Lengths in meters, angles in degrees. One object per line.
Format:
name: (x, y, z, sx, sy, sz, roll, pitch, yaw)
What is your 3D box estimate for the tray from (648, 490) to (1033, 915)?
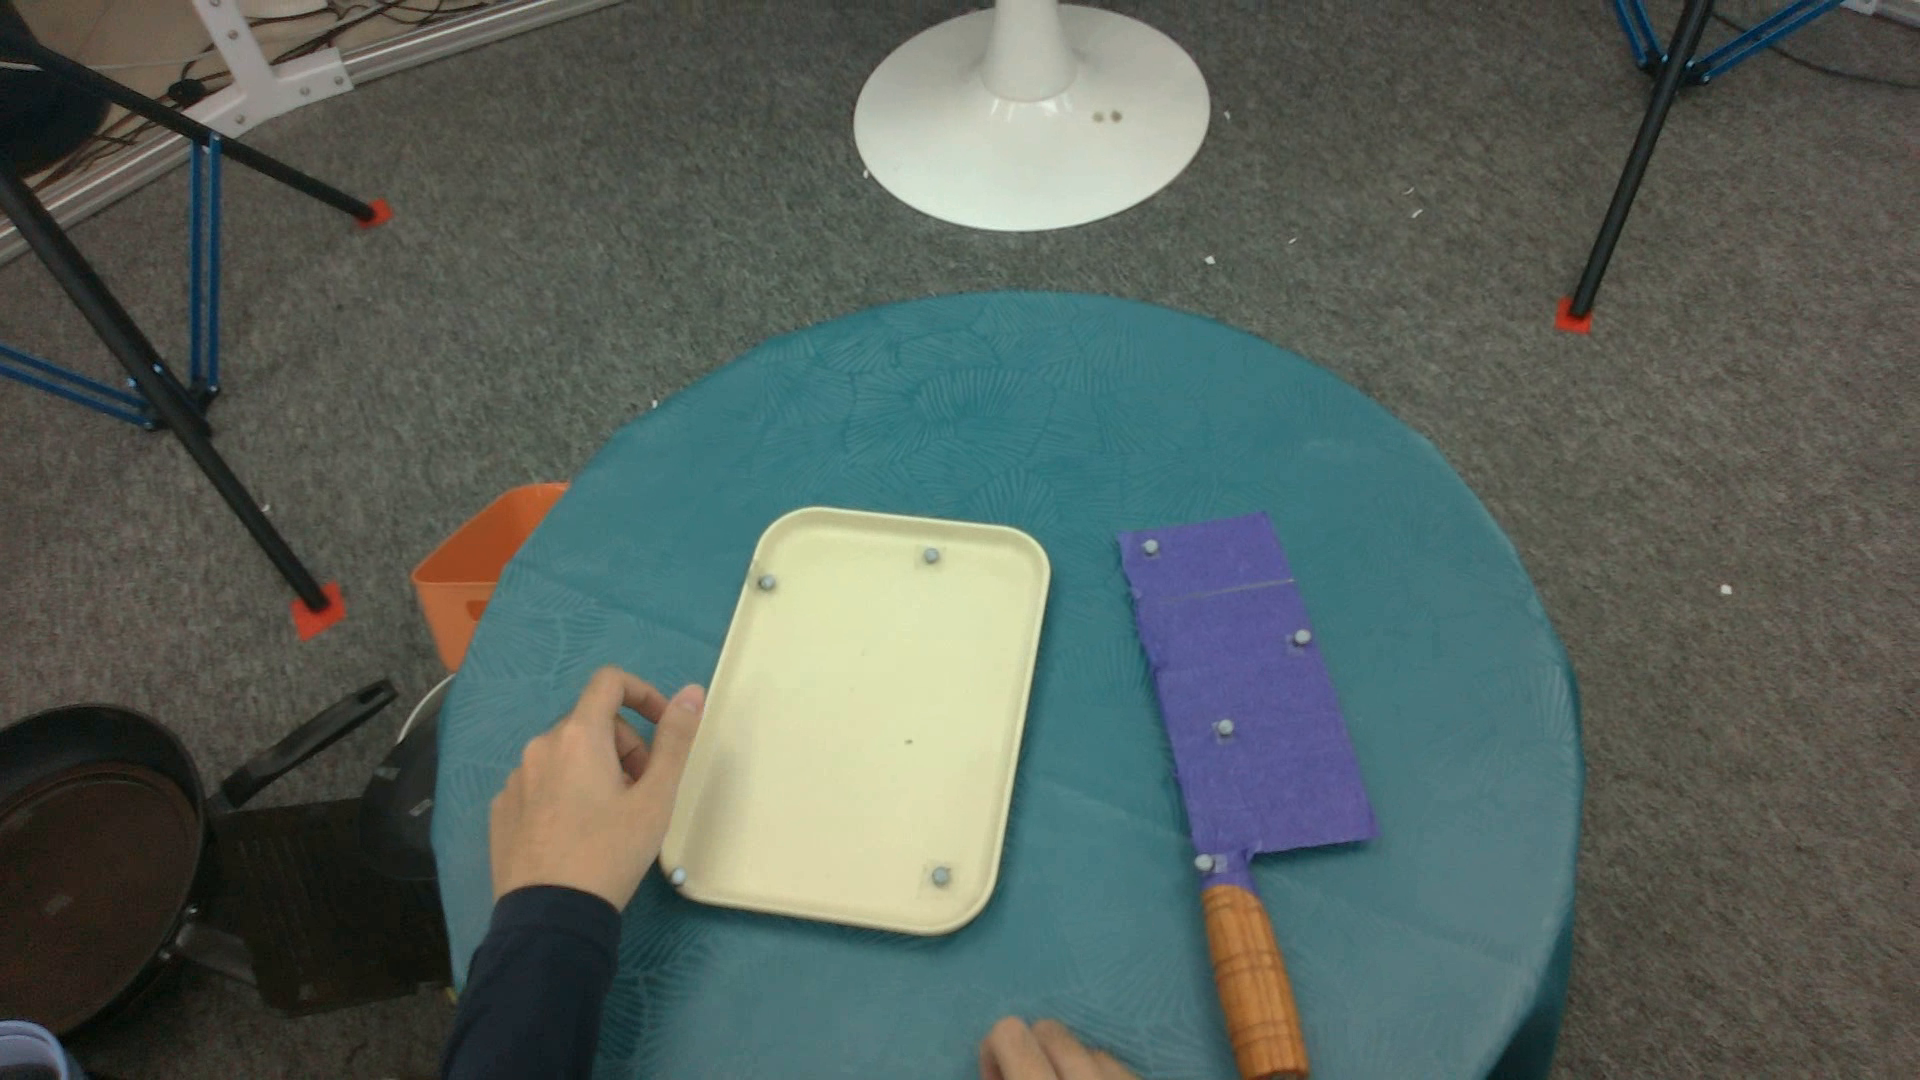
tray: (-0.056, 0.077, 0.727, 0.171, 0.017, 0.241, 6, 55, 7)

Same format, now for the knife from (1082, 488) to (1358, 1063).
knife: (0.144, 0.095, 0.696, 0.104, 0.032, 0.316, -9, 54, -3)
